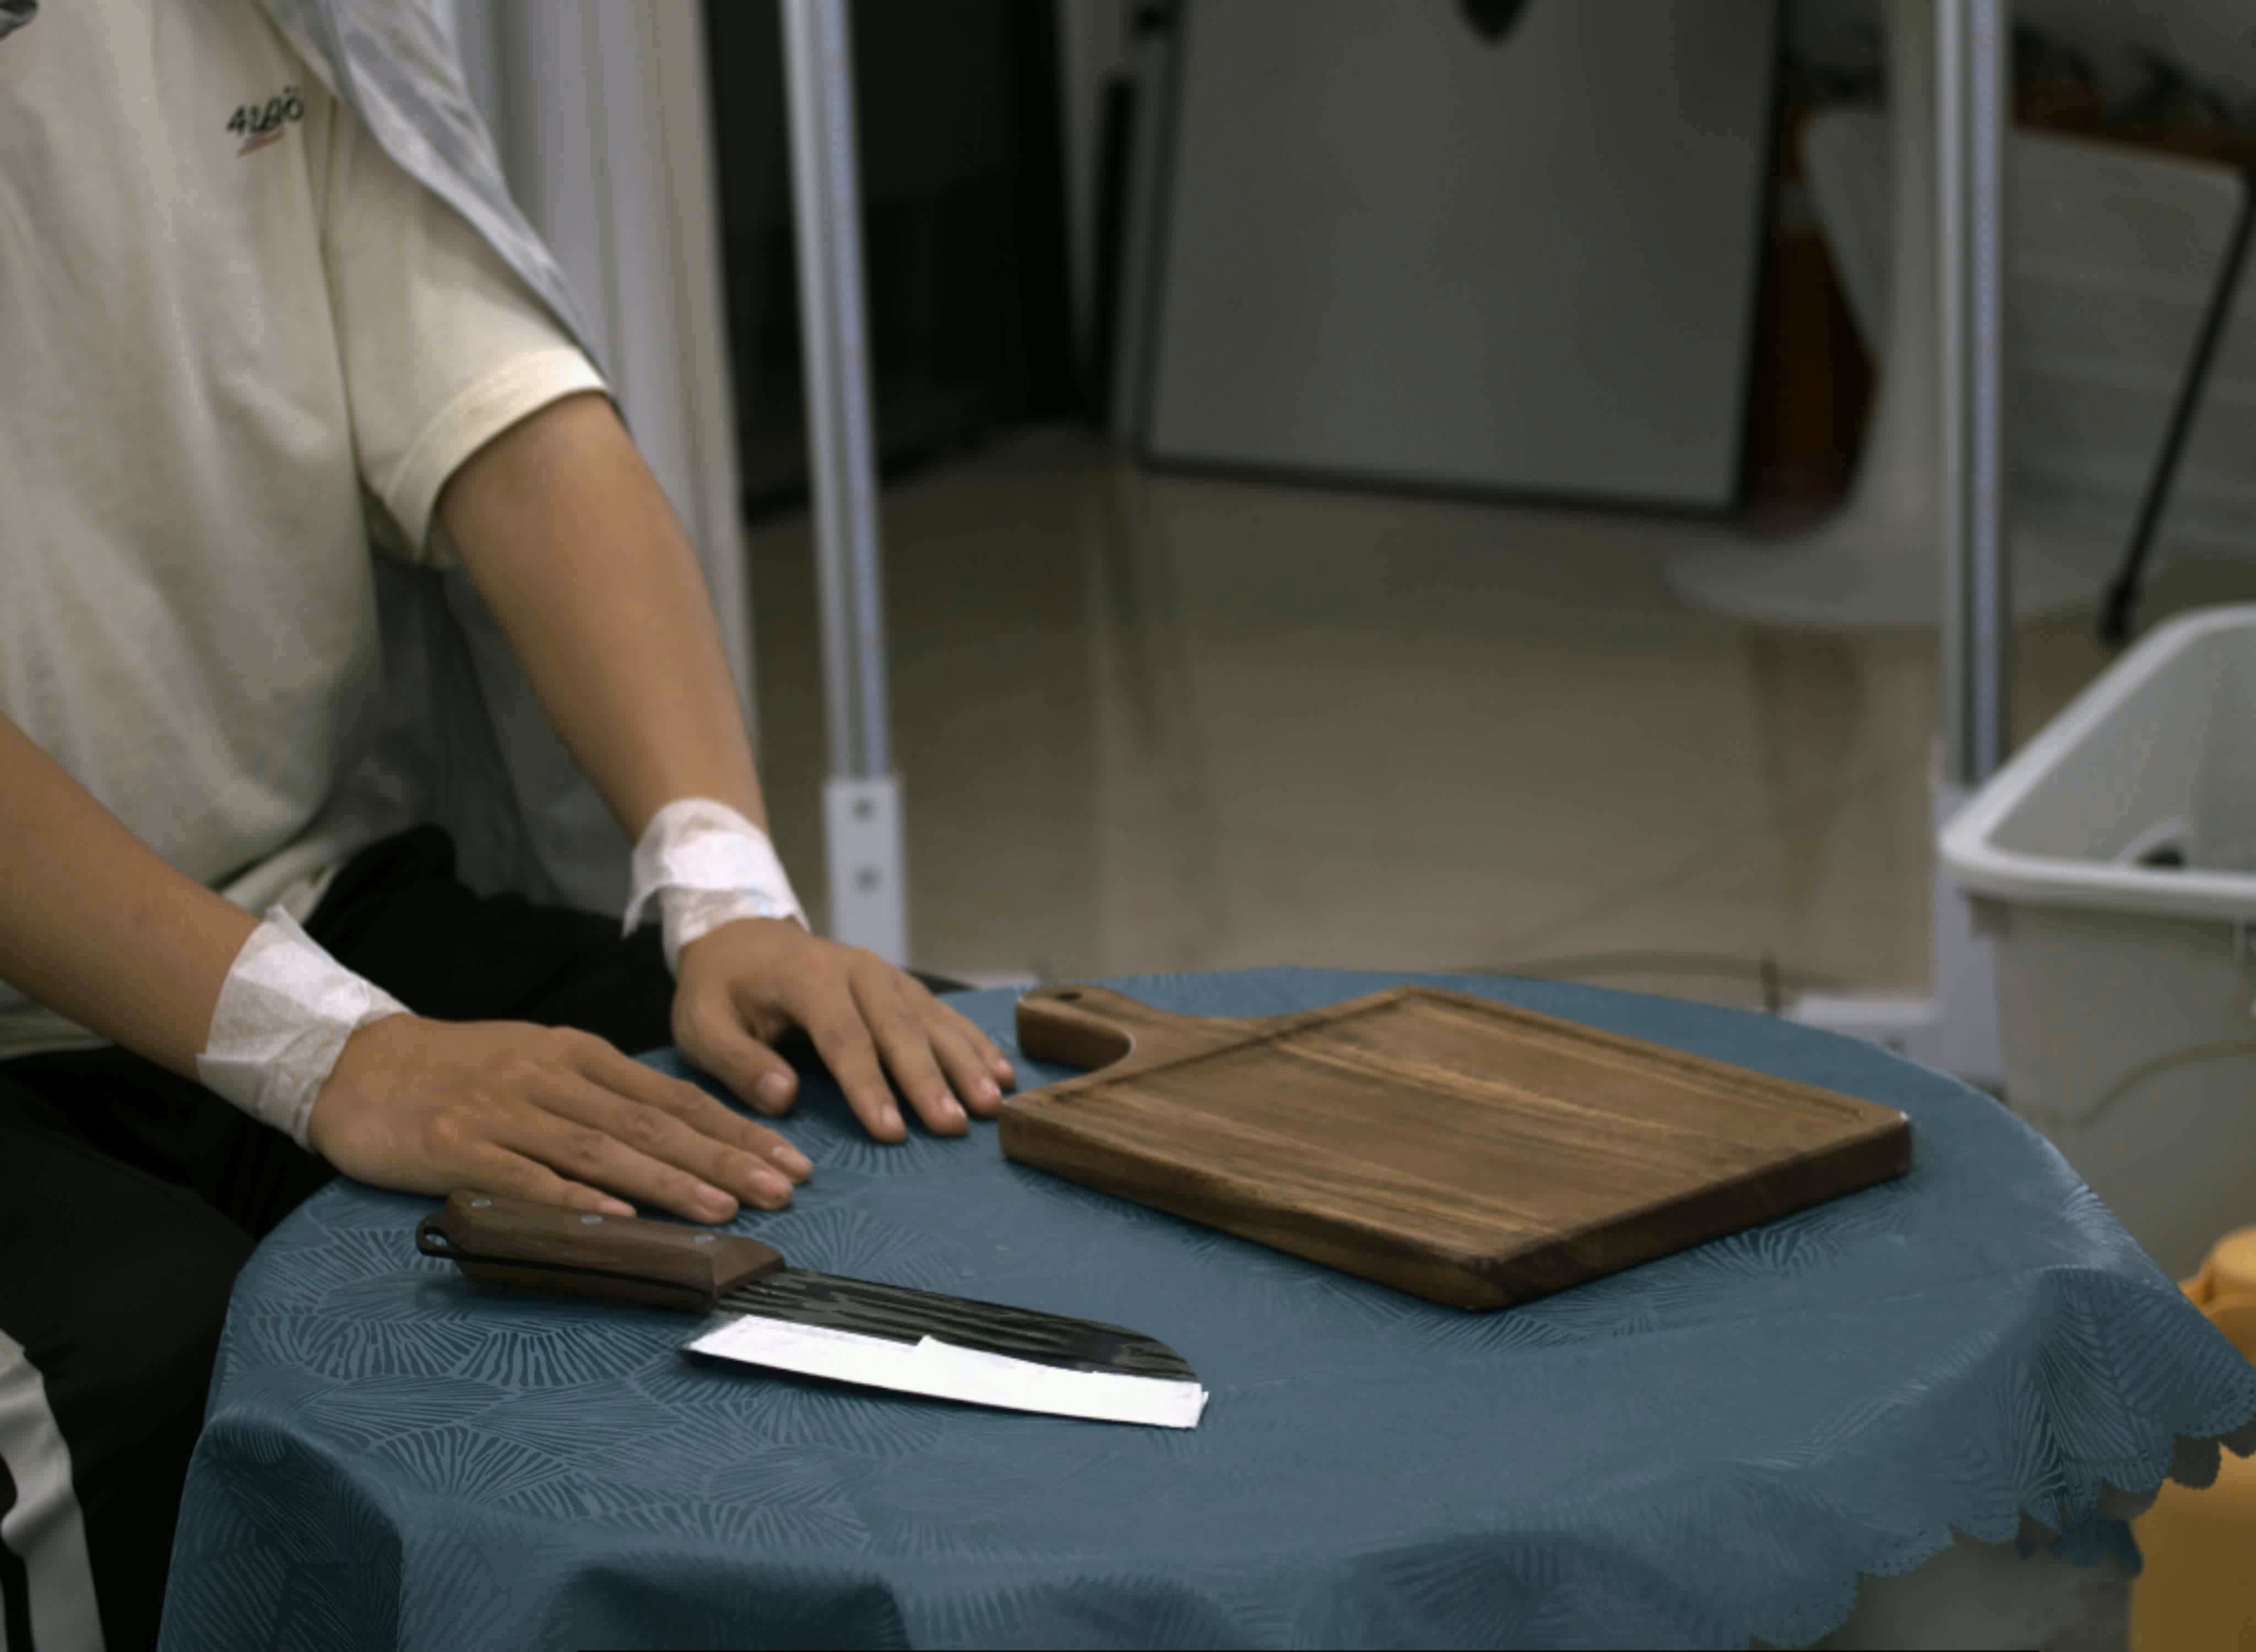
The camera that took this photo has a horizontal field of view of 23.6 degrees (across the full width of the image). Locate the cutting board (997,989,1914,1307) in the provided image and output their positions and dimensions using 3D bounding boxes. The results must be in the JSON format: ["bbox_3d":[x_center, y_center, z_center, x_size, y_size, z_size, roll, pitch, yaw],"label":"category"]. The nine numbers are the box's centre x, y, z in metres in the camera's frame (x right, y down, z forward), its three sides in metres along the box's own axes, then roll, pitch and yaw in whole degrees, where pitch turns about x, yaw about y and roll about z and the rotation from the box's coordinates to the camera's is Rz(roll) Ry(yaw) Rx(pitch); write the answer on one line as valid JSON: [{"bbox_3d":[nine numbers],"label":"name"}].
[{"bbox_3d":[0.075,0.095,1.816,0.196,0.023,0.356,-14,16,-36],"label":"cutting board"}]

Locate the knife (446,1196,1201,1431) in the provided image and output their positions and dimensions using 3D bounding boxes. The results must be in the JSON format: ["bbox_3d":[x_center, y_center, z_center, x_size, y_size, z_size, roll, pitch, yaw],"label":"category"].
[{"bbox_3d":[-0.100,0.151,1.645,0.301,0.024,0.067,7,20,31],"label":"knife"}]
